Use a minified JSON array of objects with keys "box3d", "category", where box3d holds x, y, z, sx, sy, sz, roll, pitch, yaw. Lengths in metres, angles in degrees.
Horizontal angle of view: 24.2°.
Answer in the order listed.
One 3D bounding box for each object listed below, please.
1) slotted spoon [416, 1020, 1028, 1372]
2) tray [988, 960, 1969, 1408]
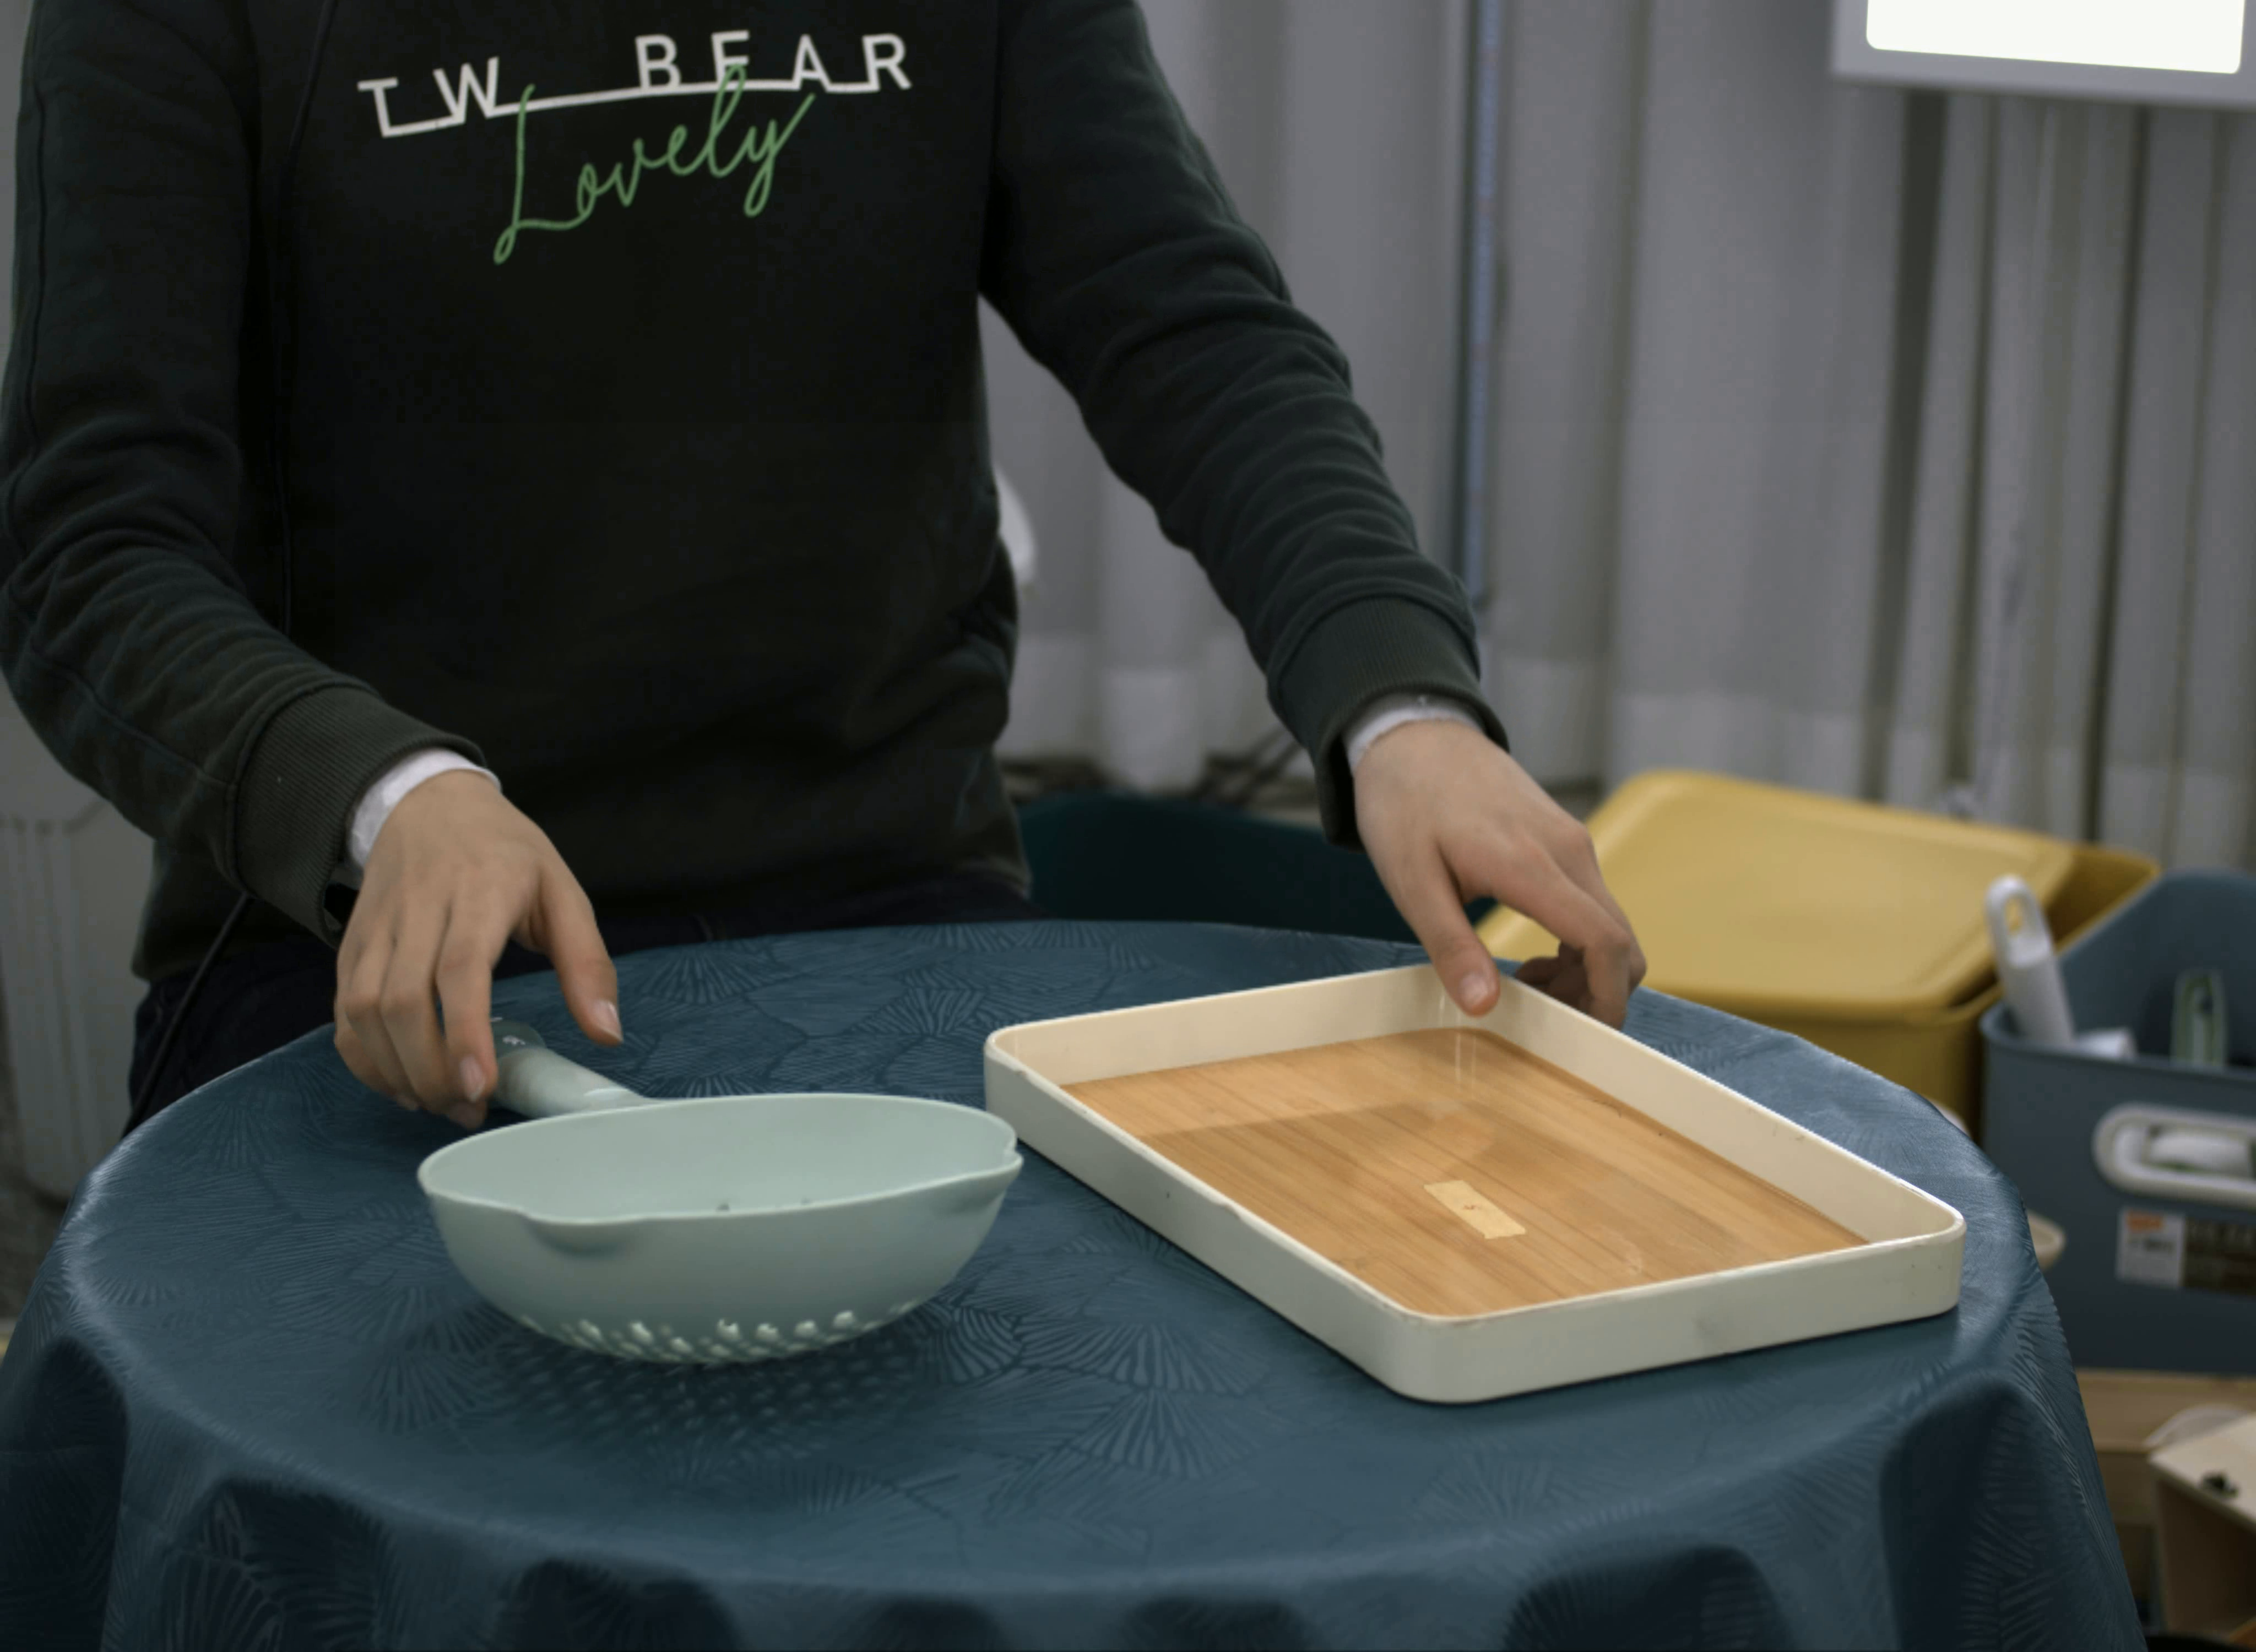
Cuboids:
[{"box3d":[-0.150,0.094,1.570,0.170,0.076,0.354,-5,17,-22],"category":"slotted spoon"},{"box3d":[0.100,0.104,1.613,0.192,0.027,0.296,-7,18,-26],"category":"tray"}]
